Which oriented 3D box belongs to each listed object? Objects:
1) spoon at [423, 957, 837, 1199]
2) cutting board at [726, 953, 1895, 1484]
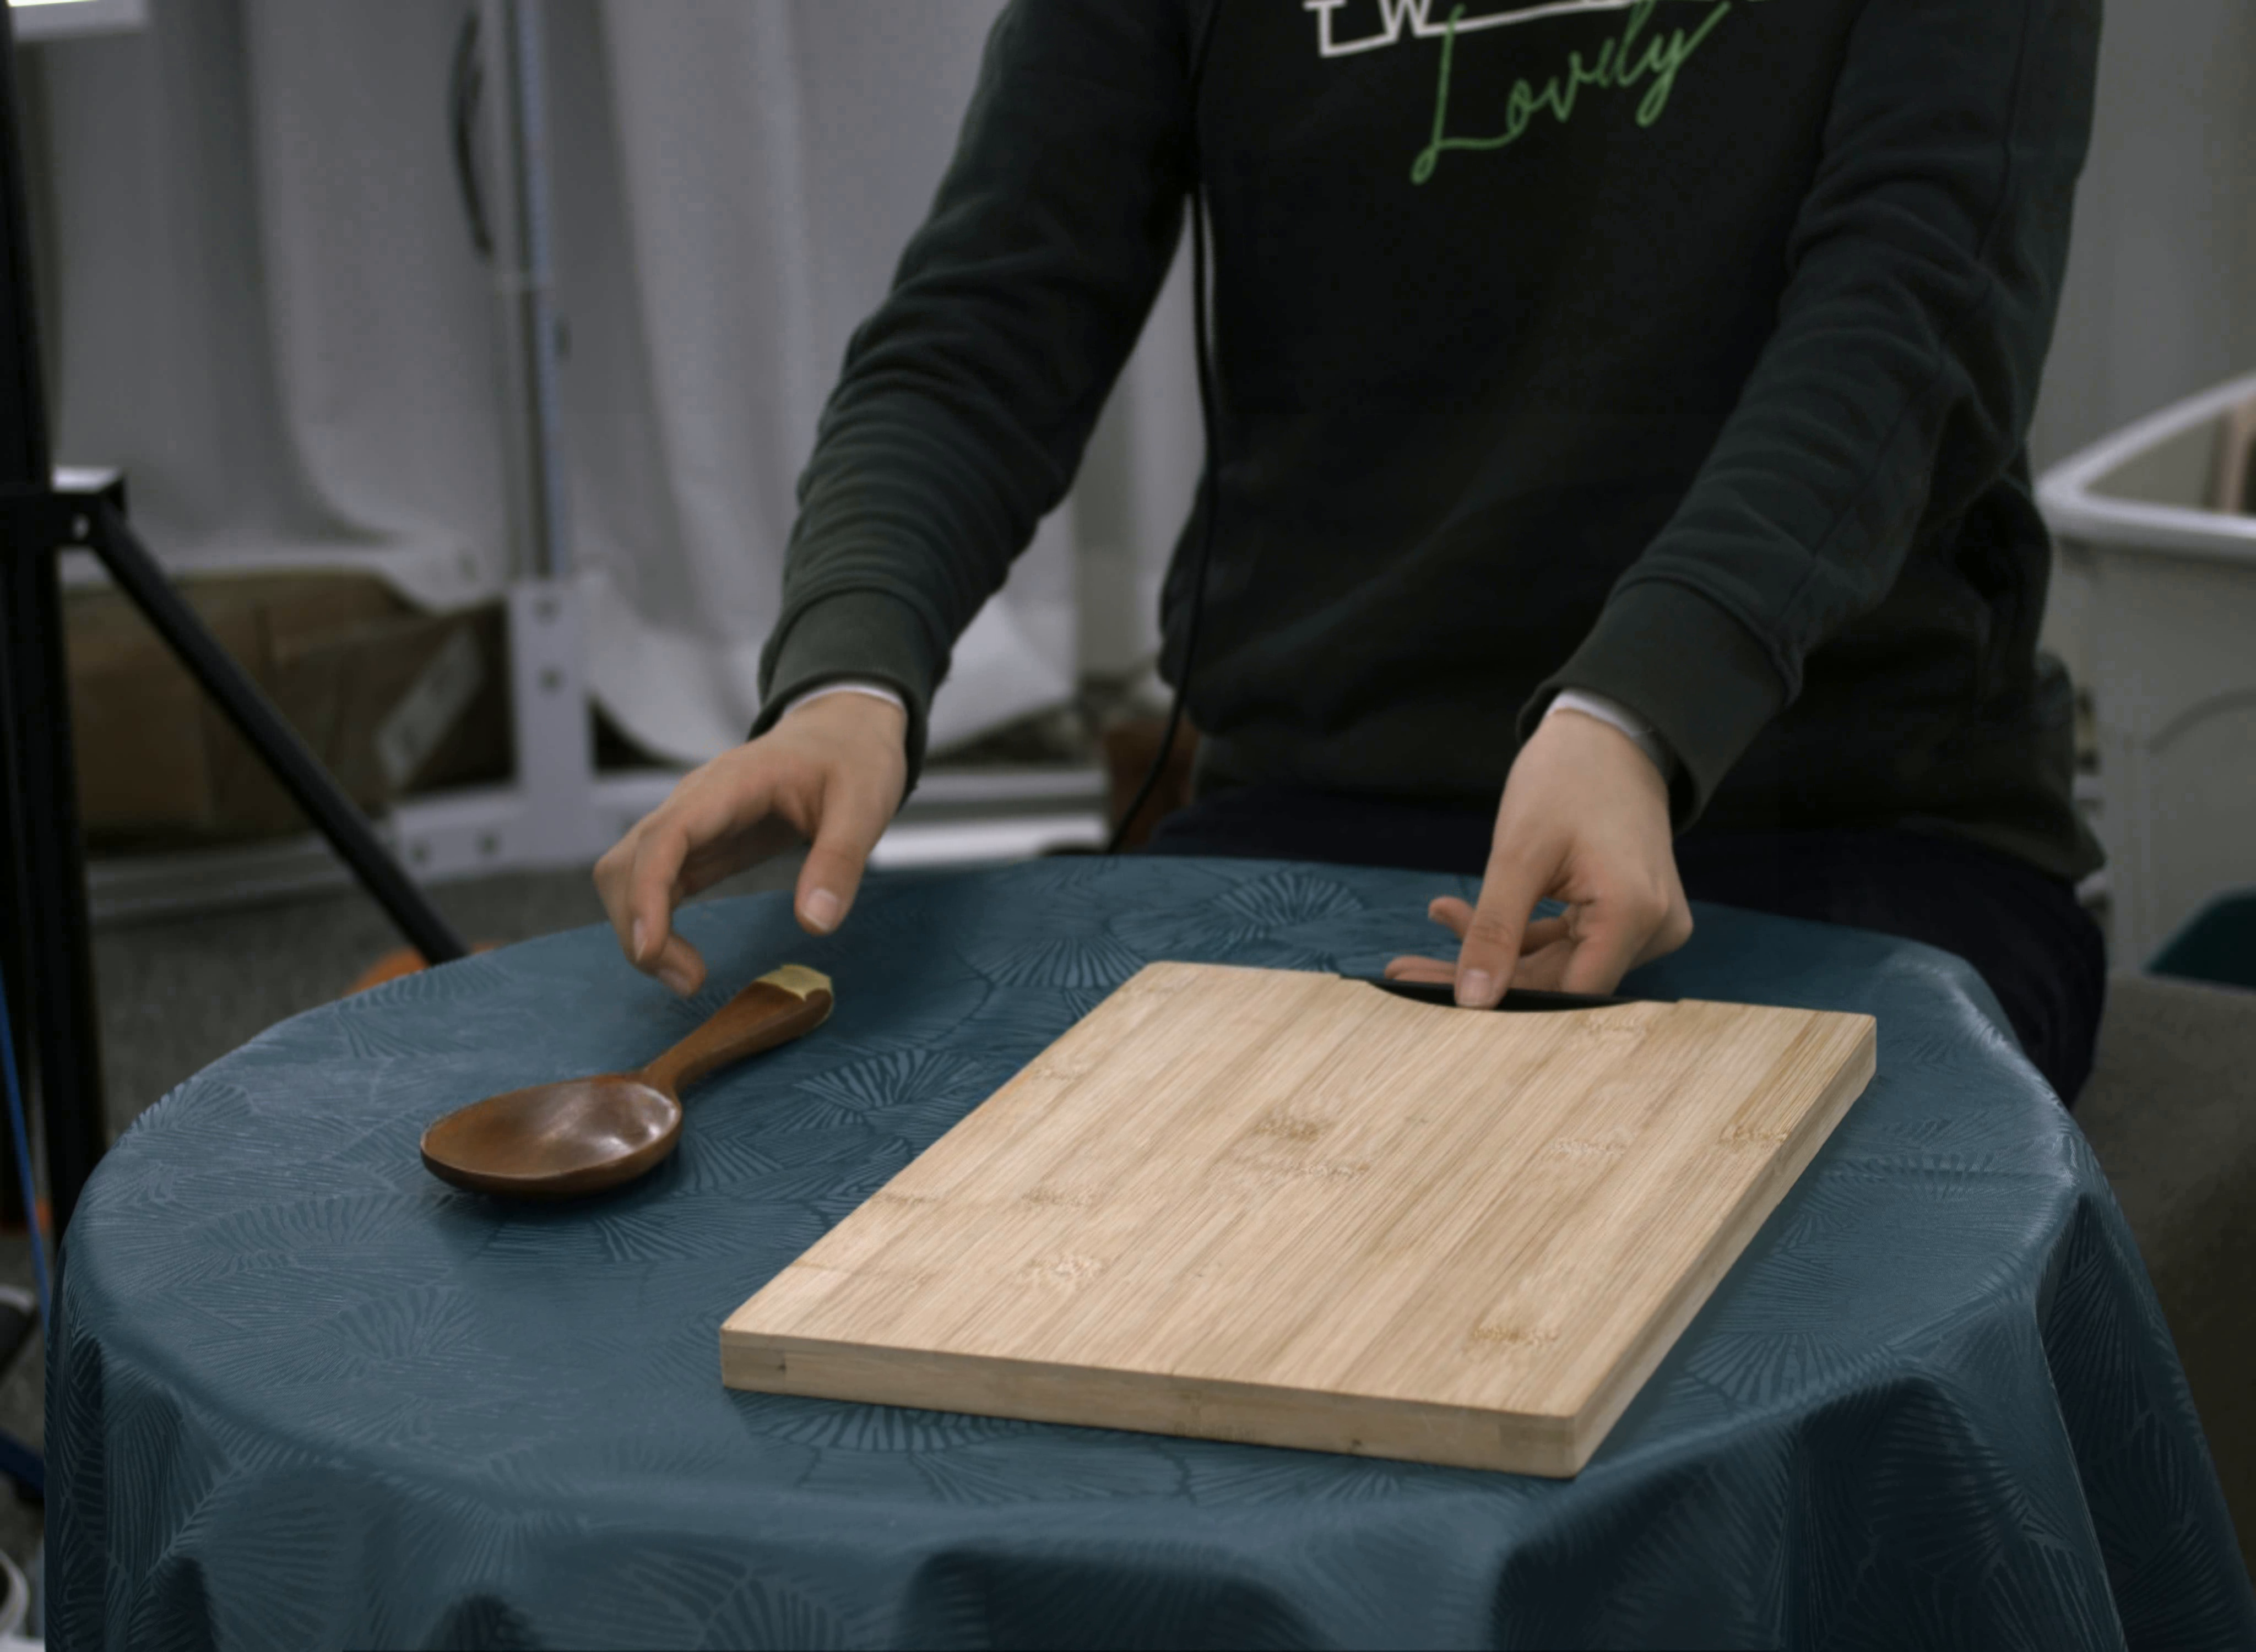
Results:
[{"bbox_3d":[-0.144,0.079,1.651,0.076,0.017,0.213,3,17,24],"label":"spoon"},{"bbox_3d":[0.064,0.104,1.532,0.254,0.023,0.344,4,17,20],"label":"cutting board"}]
